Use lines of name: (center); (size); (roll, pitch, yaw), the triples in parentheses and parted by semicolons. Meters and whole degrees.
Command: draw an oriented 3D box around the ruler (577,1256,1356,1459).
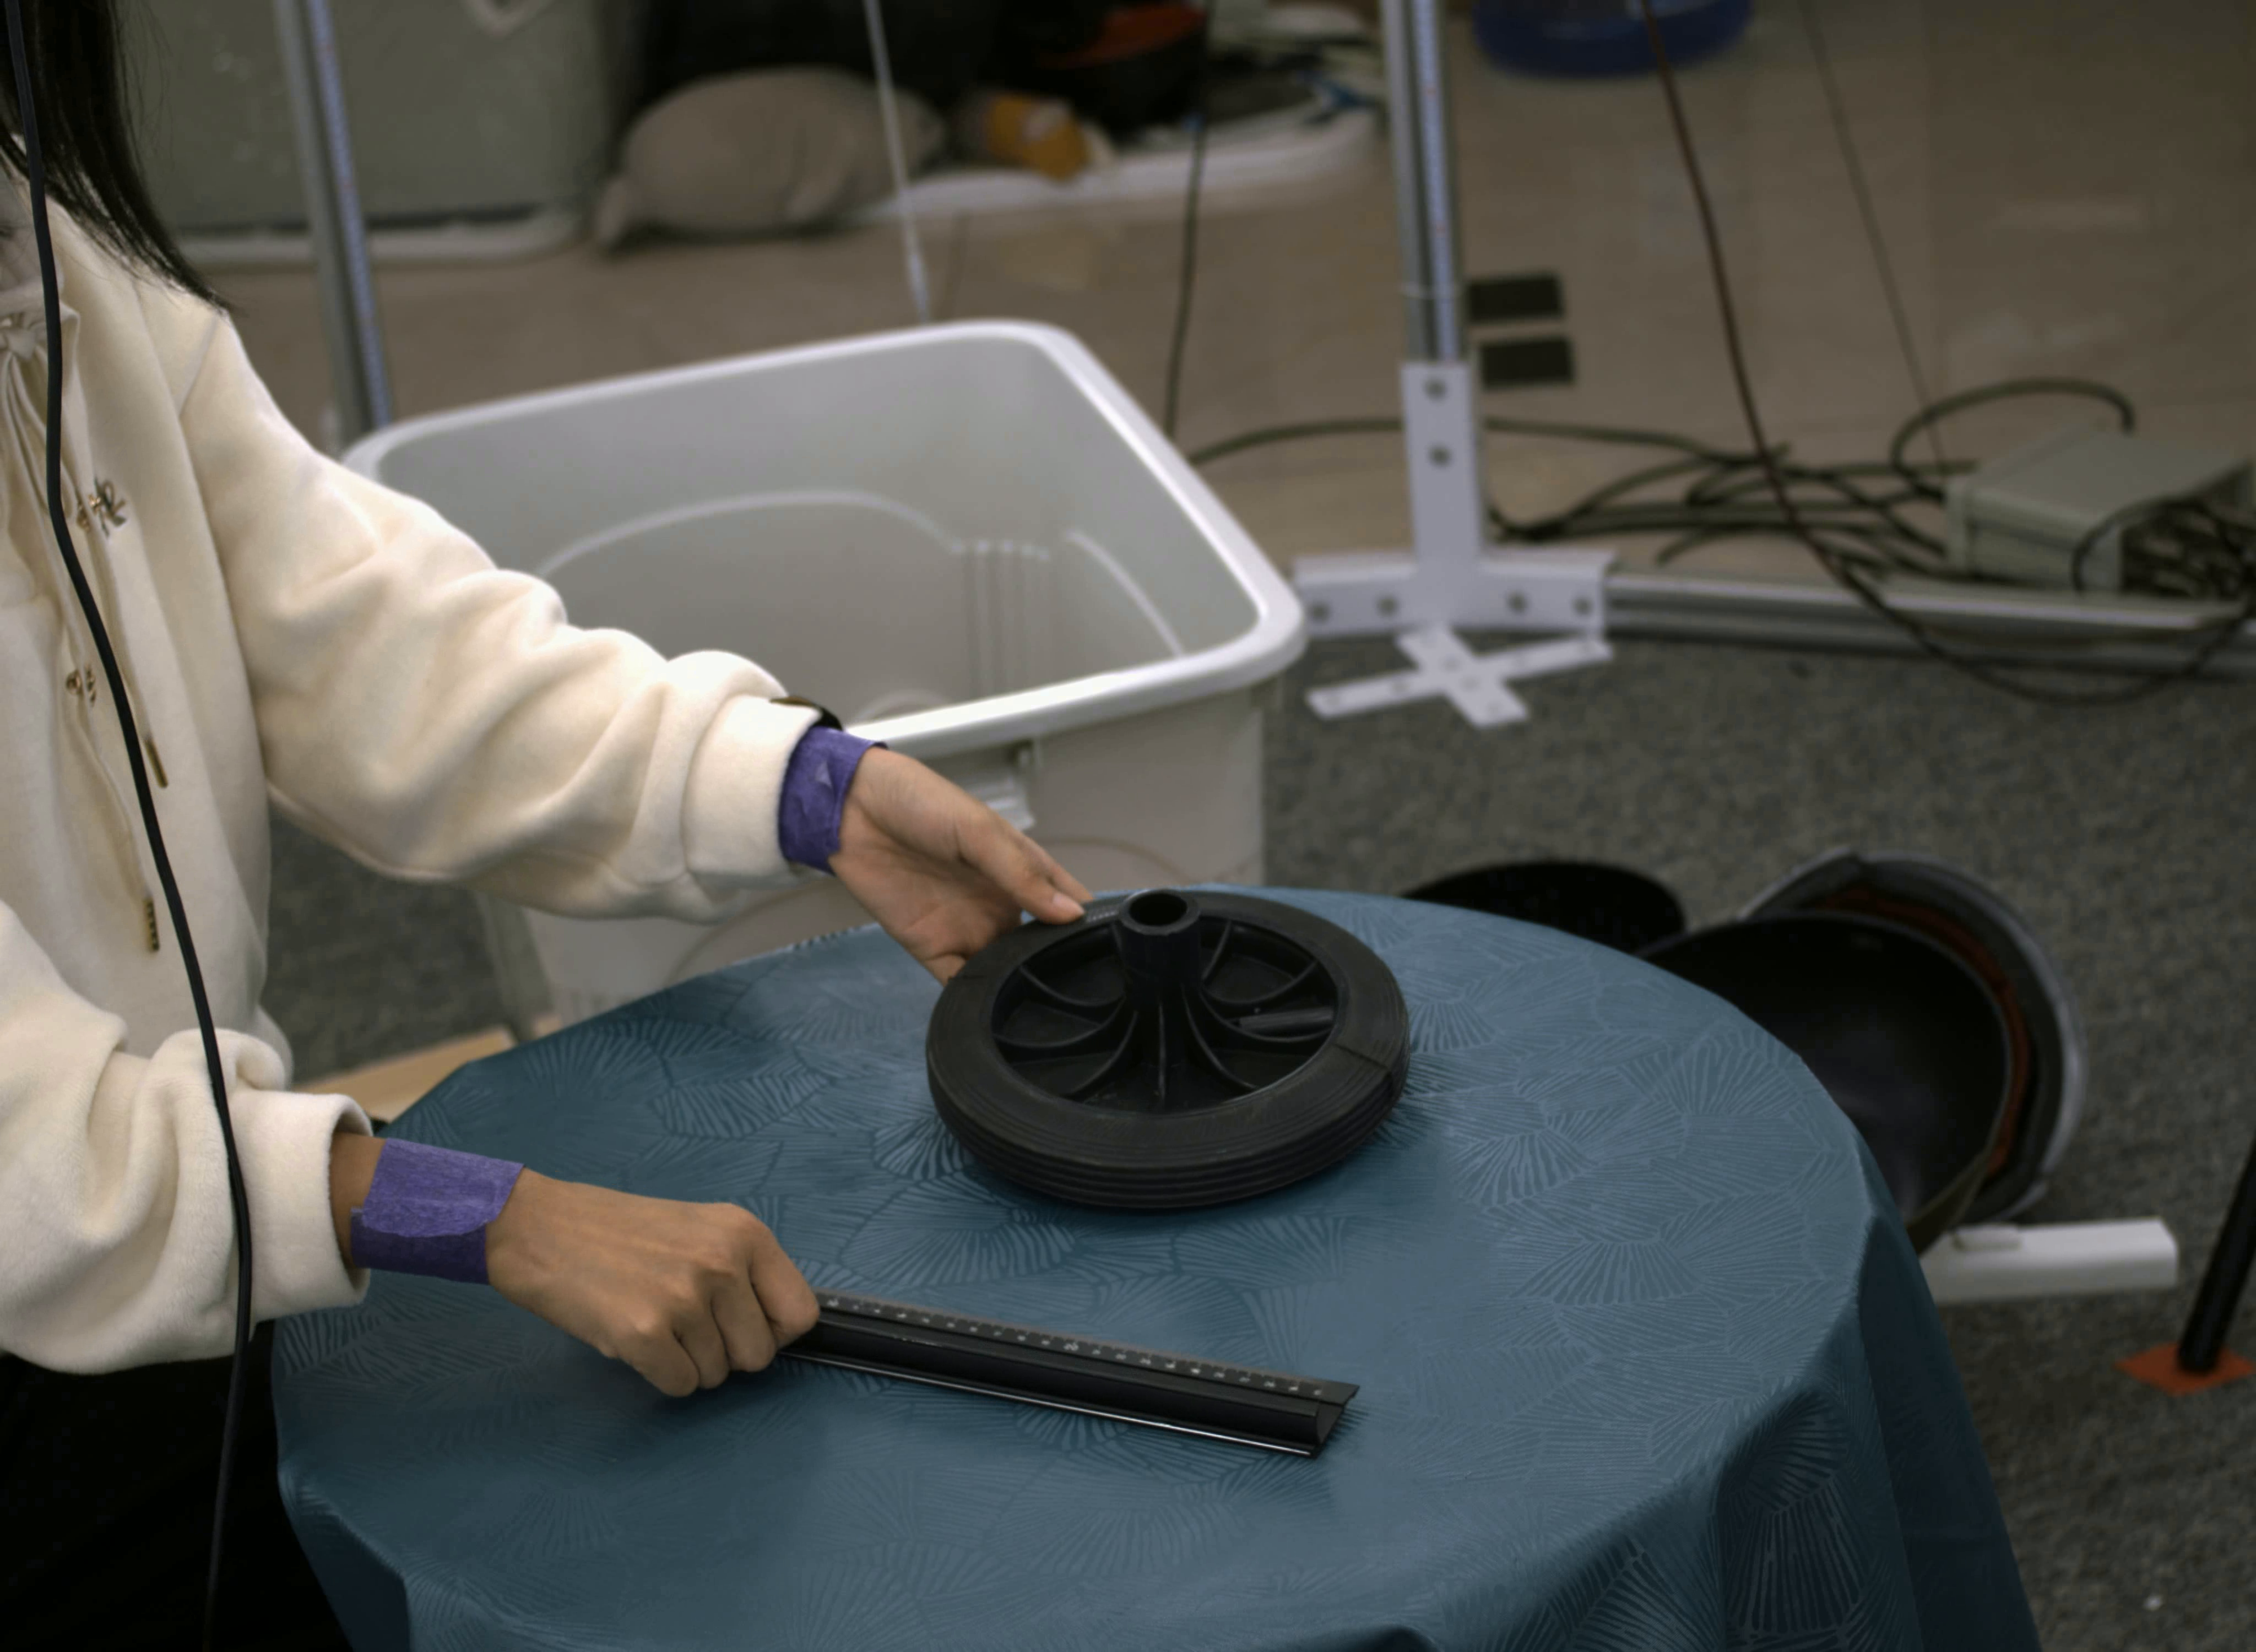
ruler: (-0.063, 0.184, 2.040); (0.311, 0.017, 0.039); (8, 35, 29)

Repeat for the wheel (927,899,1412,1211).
wheel: (0.015, 0.069, 2.186); (0.189, 0.080, 0.185); (-20, 36, -23)
